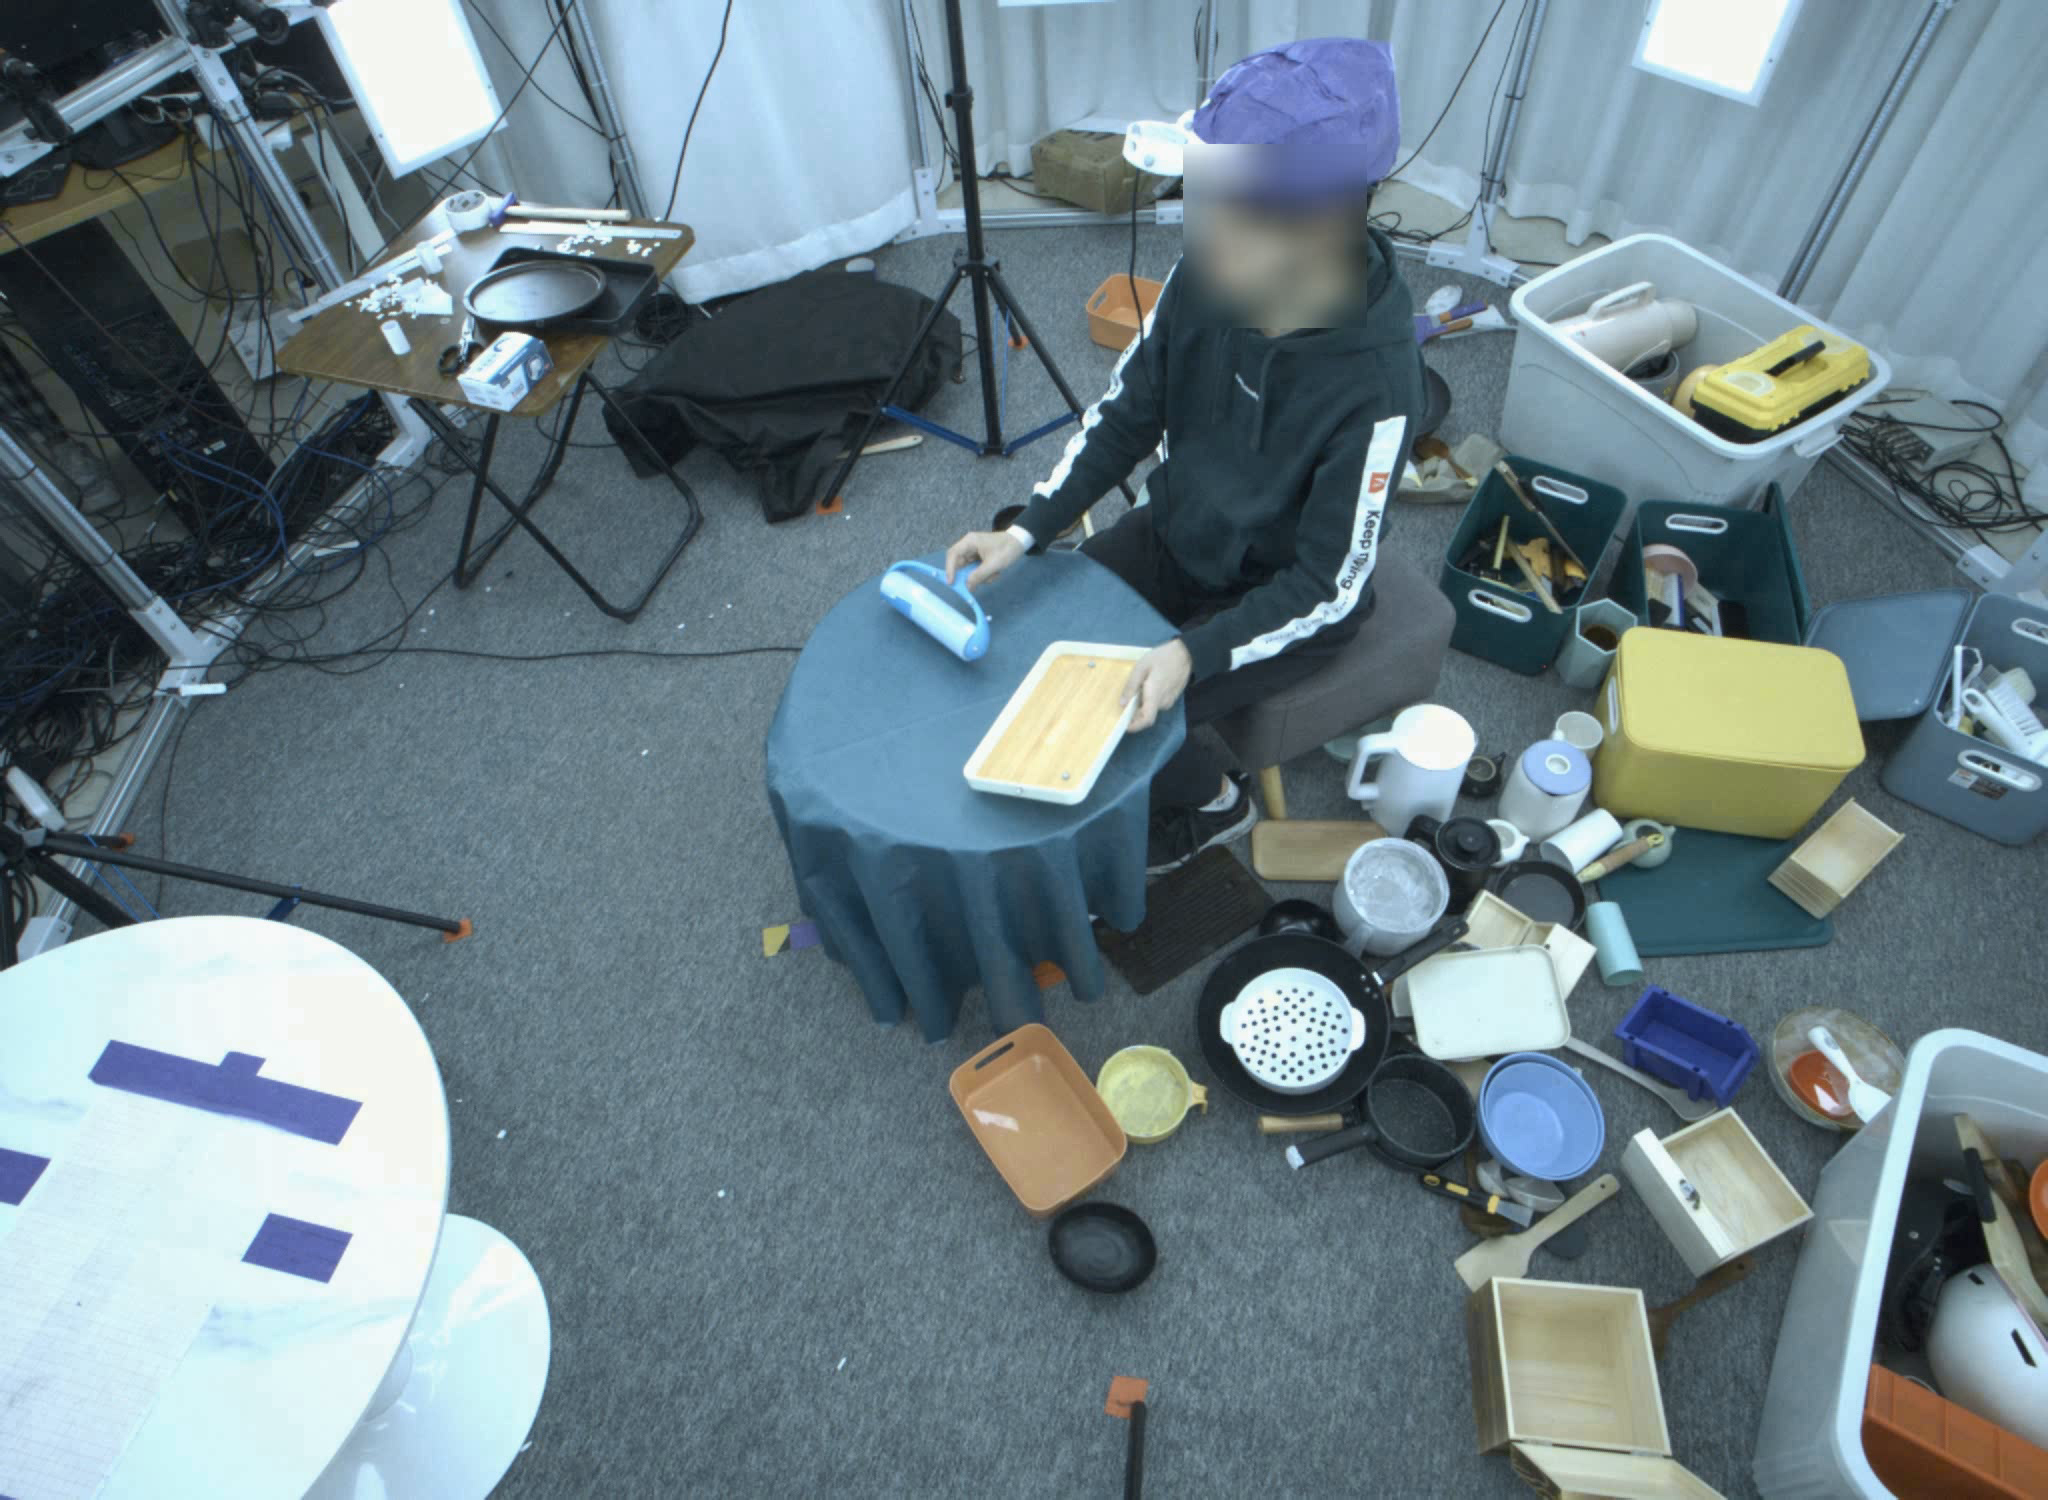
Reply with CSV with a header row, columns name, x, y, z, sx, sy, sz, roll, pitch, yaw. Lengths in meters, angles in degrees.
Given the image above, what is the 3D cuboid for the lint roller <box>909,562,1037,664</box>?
name,x,y,z,sx,sy,sz,roll,pitch,yaw
lint roller,-0.054,-0.243,1.885,0.224,0.069,0.181,35,72,27

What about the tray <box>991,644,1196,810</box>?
name,x,y,z,sx,sy,sz,roll,pitch,yaw
tray,0.101,-0.039,1.742,0.188,0.028,0.301,11,48,32
